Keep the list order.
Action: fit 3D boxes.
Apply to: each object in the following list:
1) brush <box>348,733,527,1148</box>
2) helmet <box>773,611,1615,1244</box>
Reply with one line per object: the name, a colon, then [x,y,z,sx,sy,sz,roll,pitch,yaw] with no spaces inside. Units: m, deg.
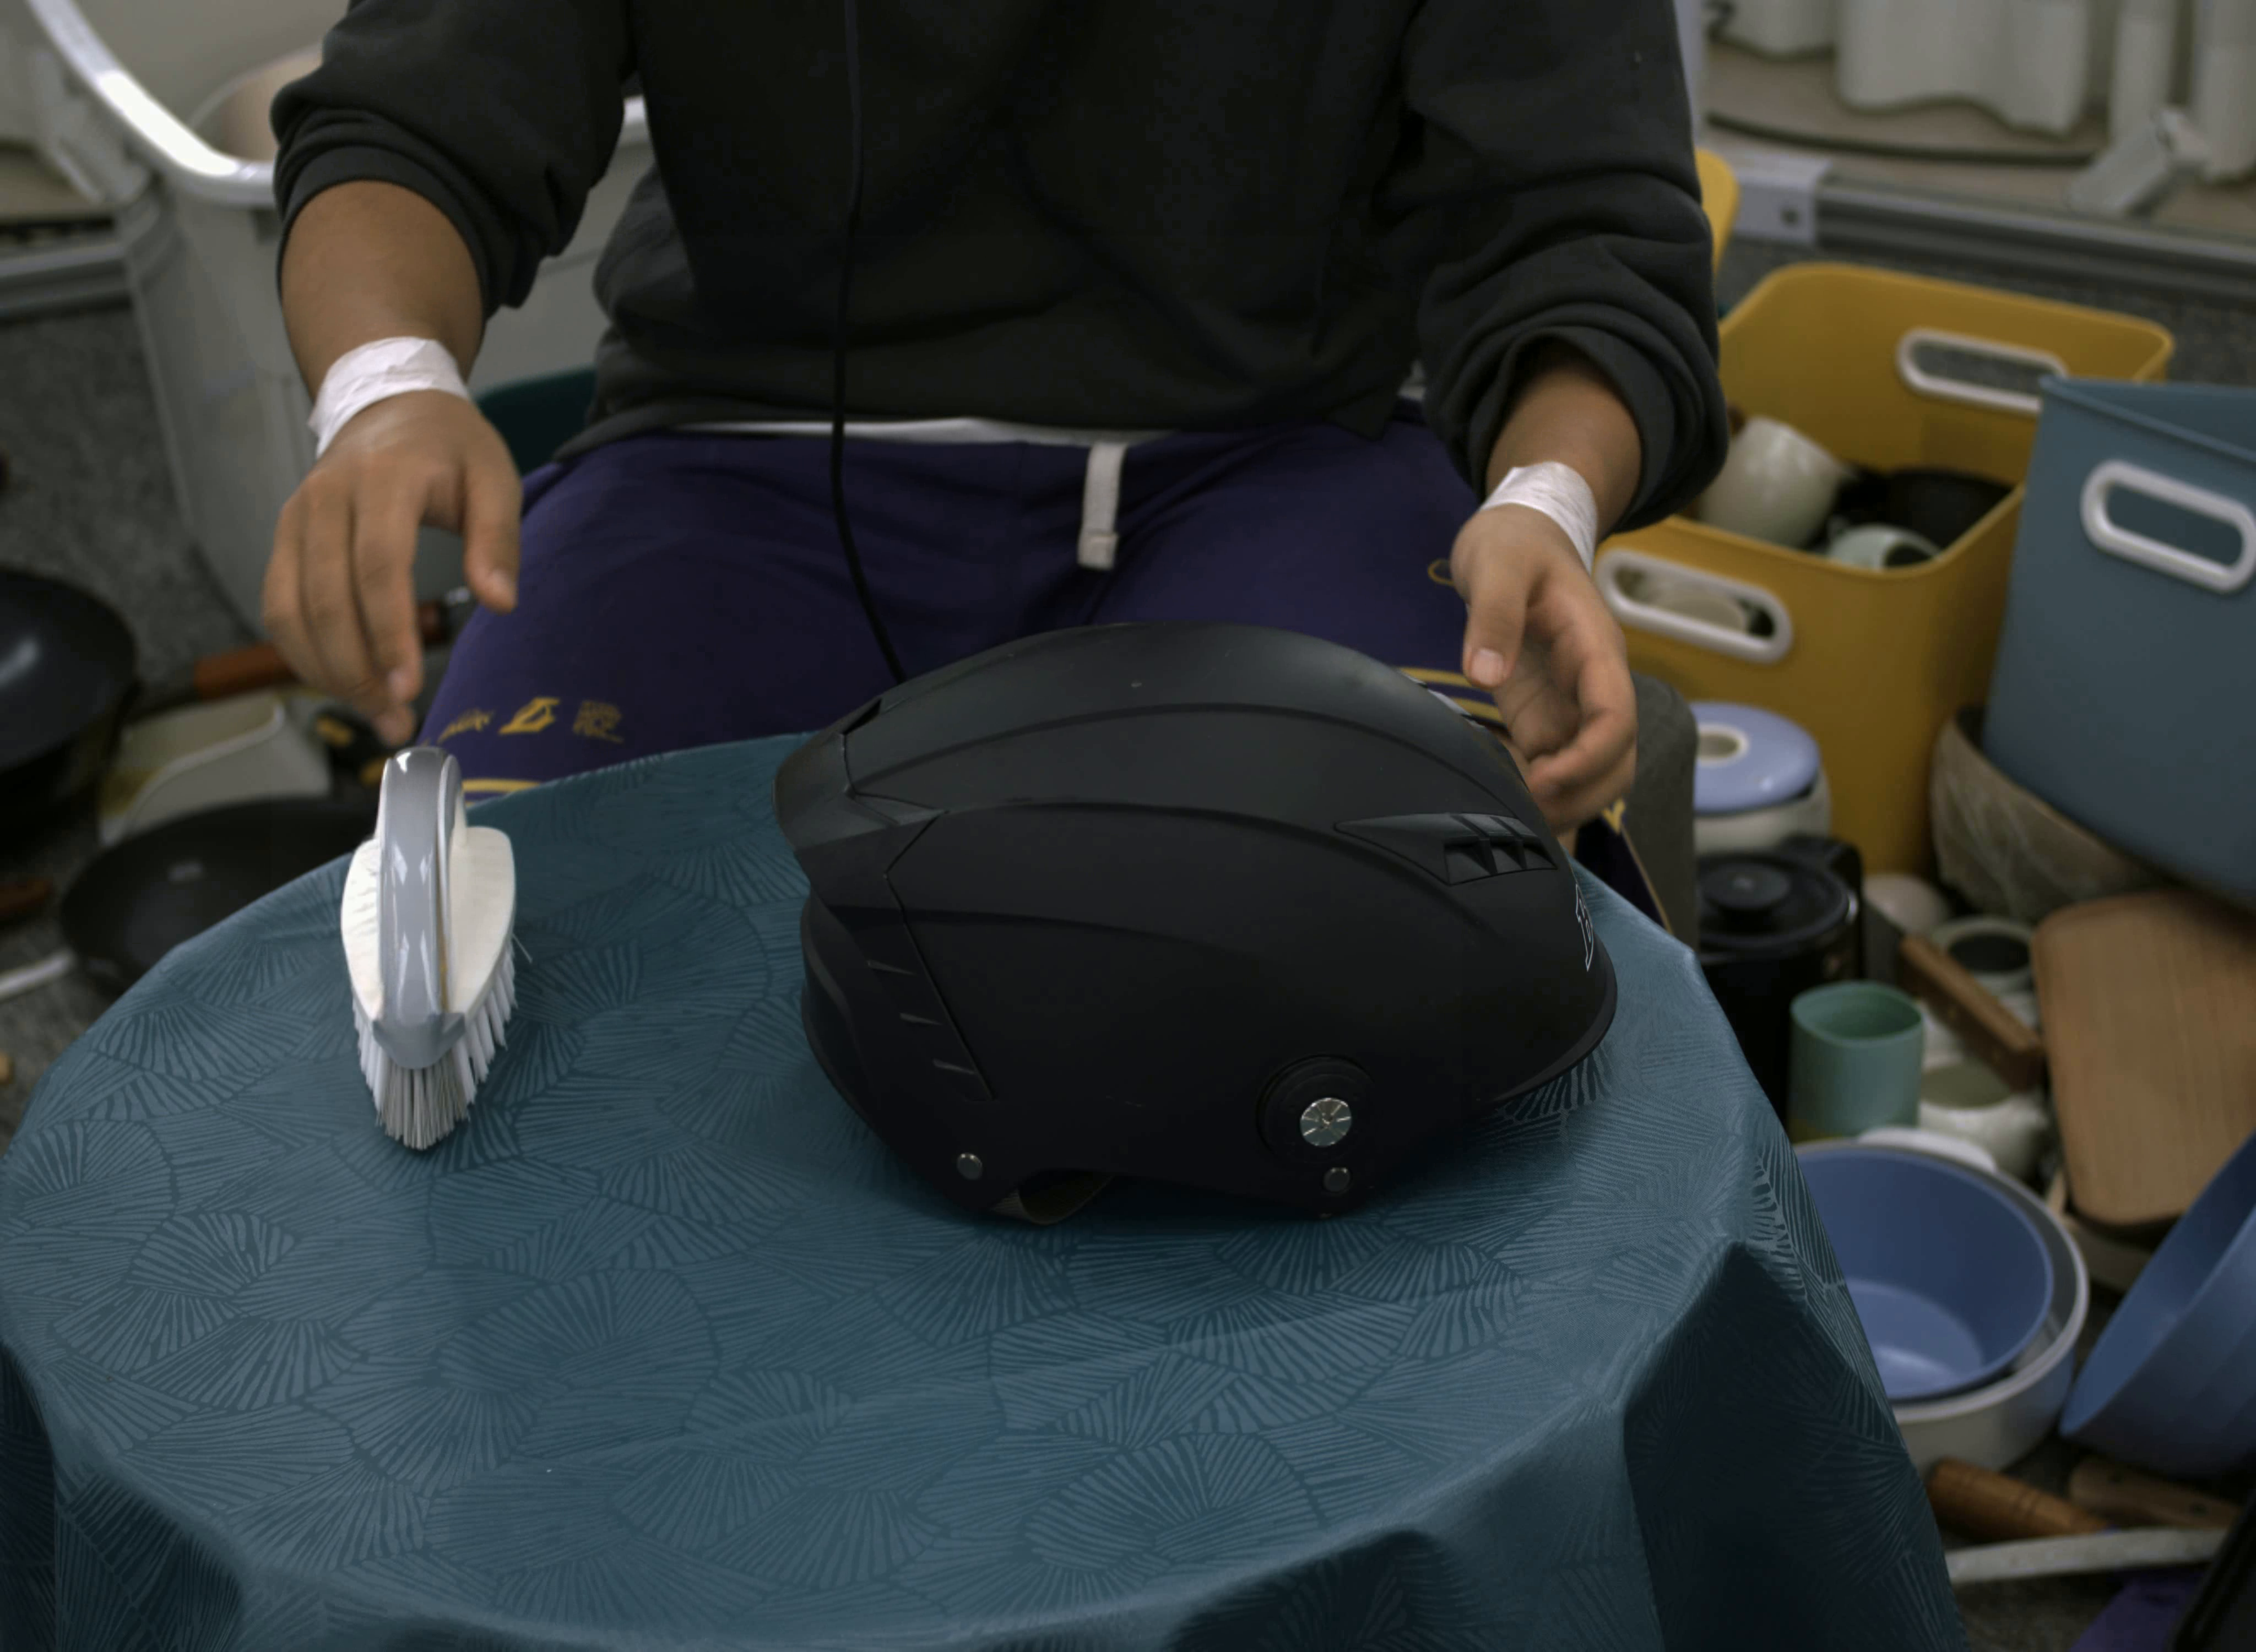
brush: [-0.244,0.032,1.961,0.061,0.093,0.178,-5,29,-1]
helmet: [0.021,0.016,1.895,0.275,0.170,0.250,-8,28,0]
